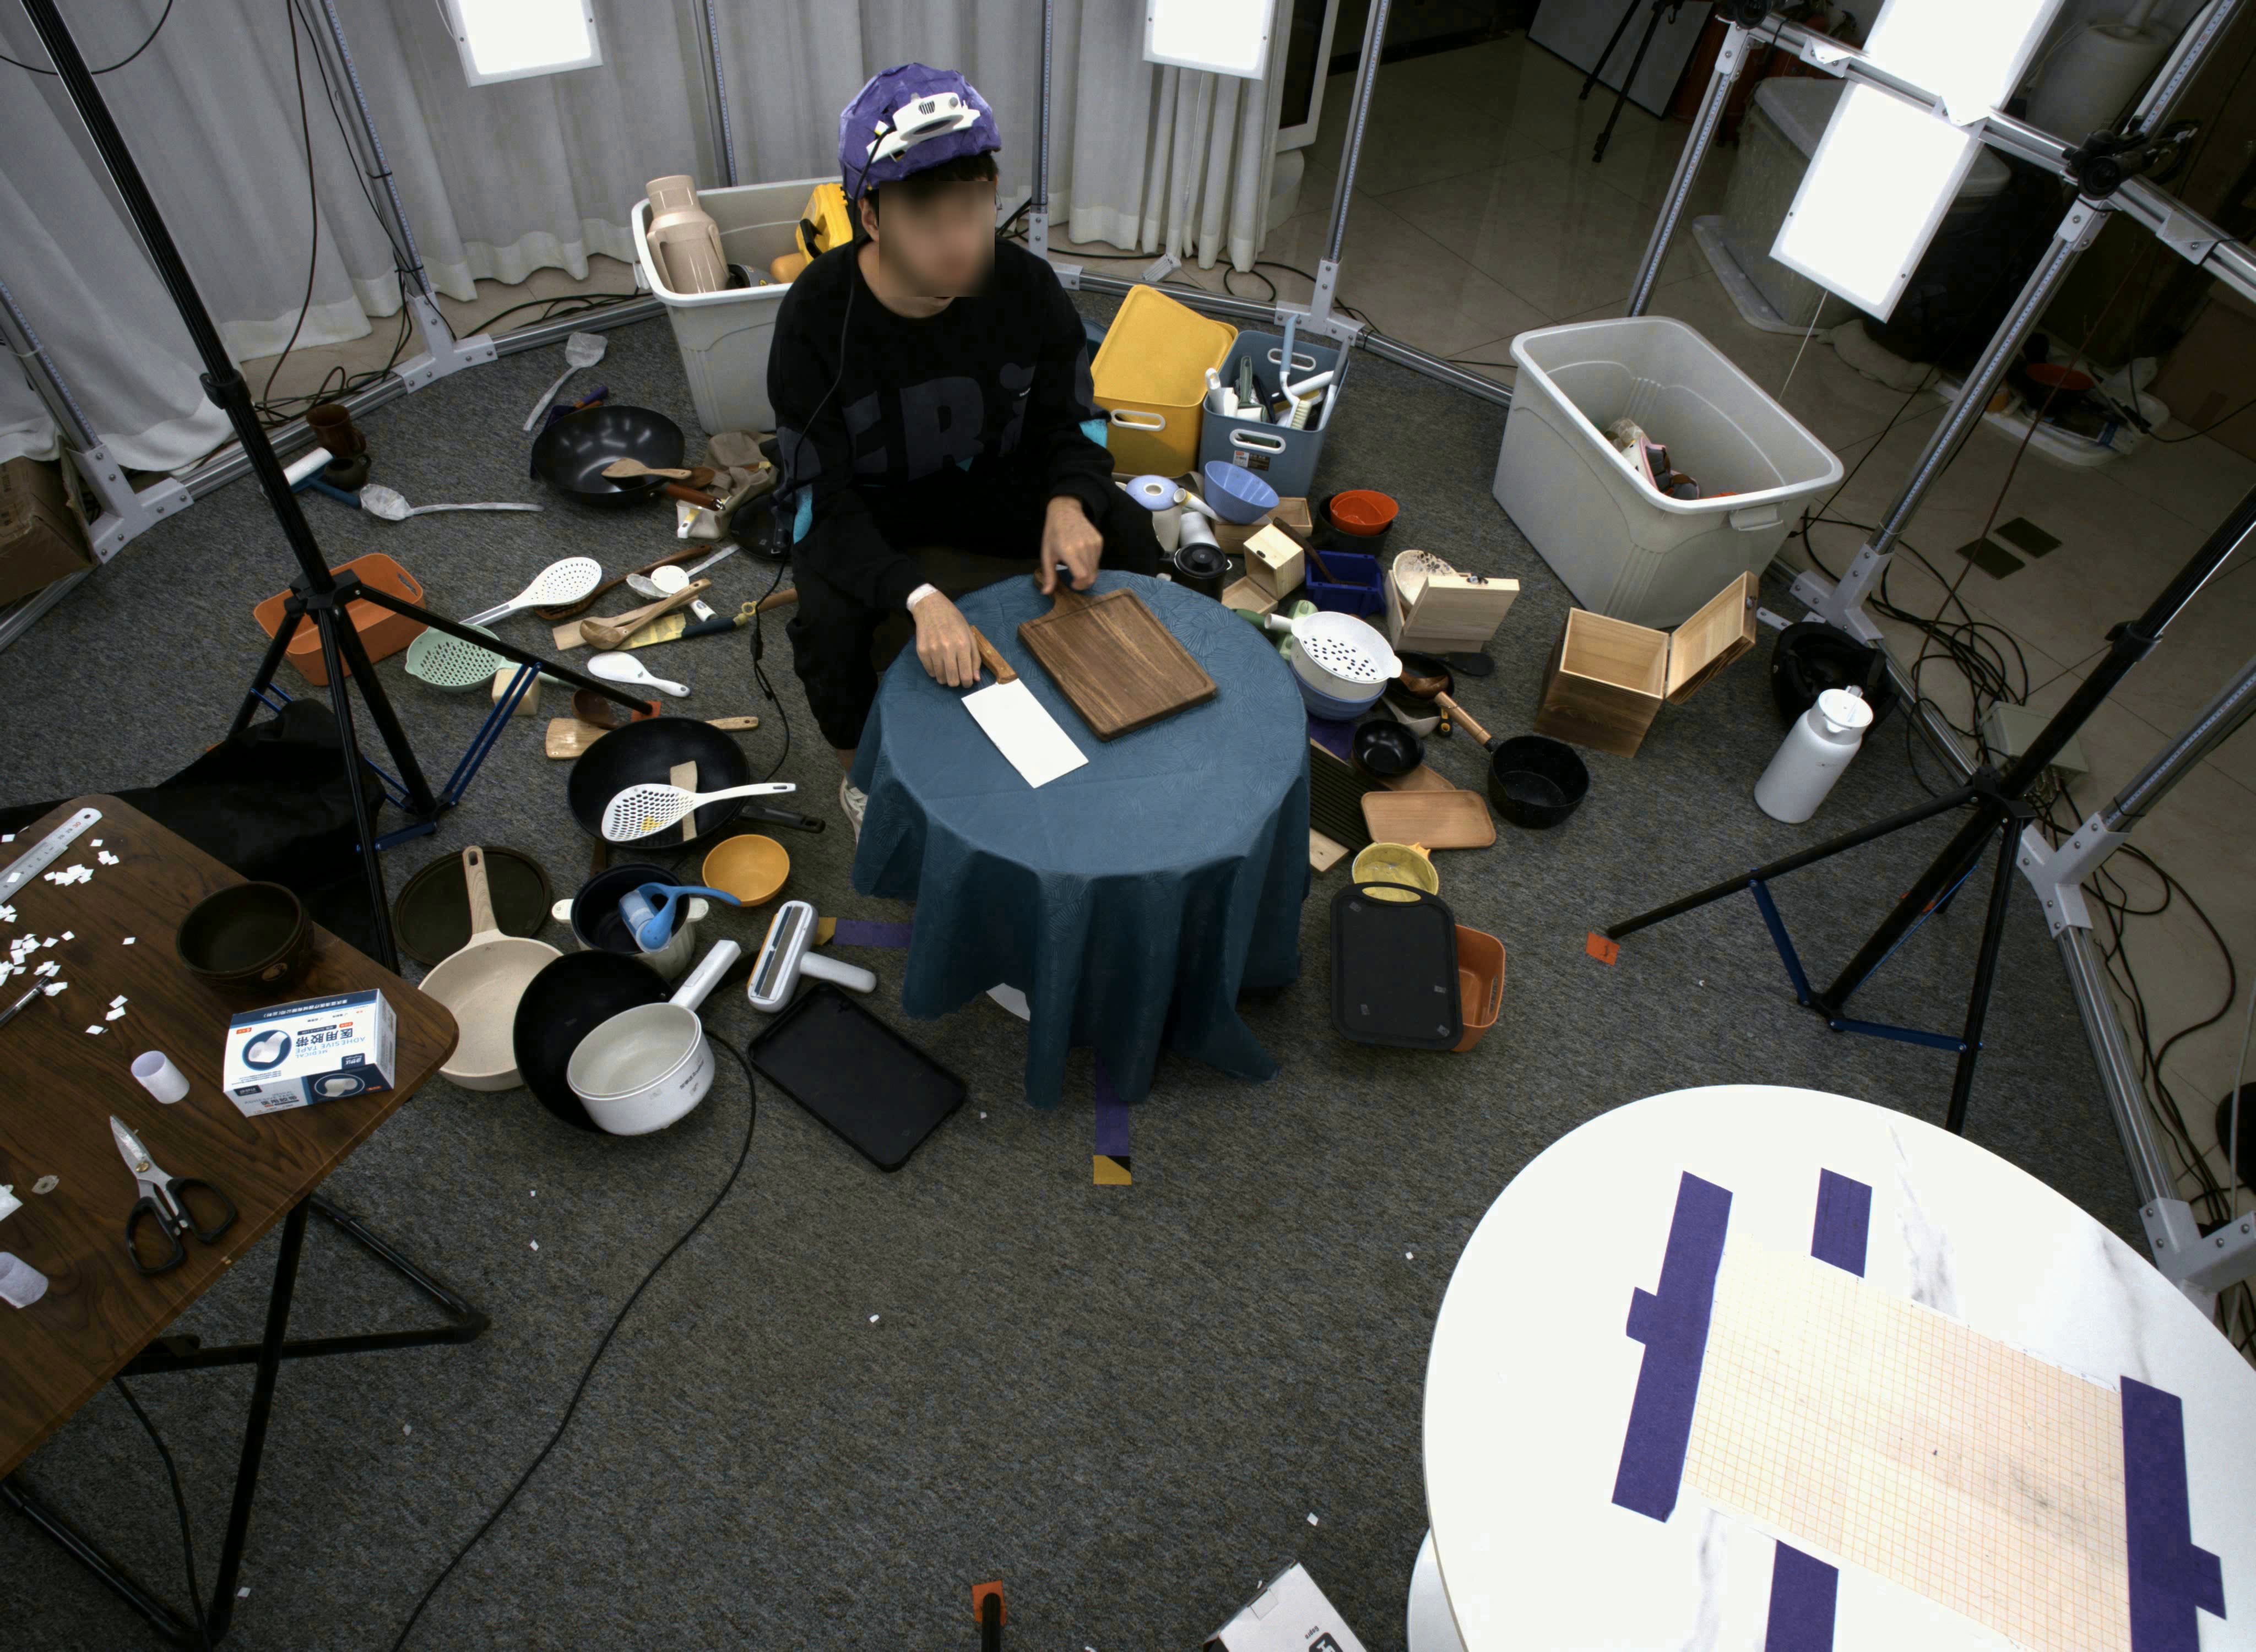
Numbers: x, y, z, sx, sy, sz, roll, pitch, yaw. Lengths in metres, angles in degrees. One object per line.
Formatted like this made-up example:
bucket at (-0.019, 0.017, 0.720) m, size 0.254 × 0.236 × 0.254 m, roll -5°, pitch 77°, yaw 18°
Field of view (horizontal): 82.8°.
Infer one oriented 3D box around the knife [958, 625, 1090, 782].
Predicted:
knife at (-0.170, -0.172, 1.797) m, size 0.093 × 0.020 × 0.311 m, roll -26°, pitch 58°, yaw -22°

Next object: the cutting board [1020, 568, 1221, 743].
cutting board at (-0.038, -0.272, 1.889) m, size 0.202 × 0.022 × 0.359 m, roll -23°, pitch 54°, yaw -22°
